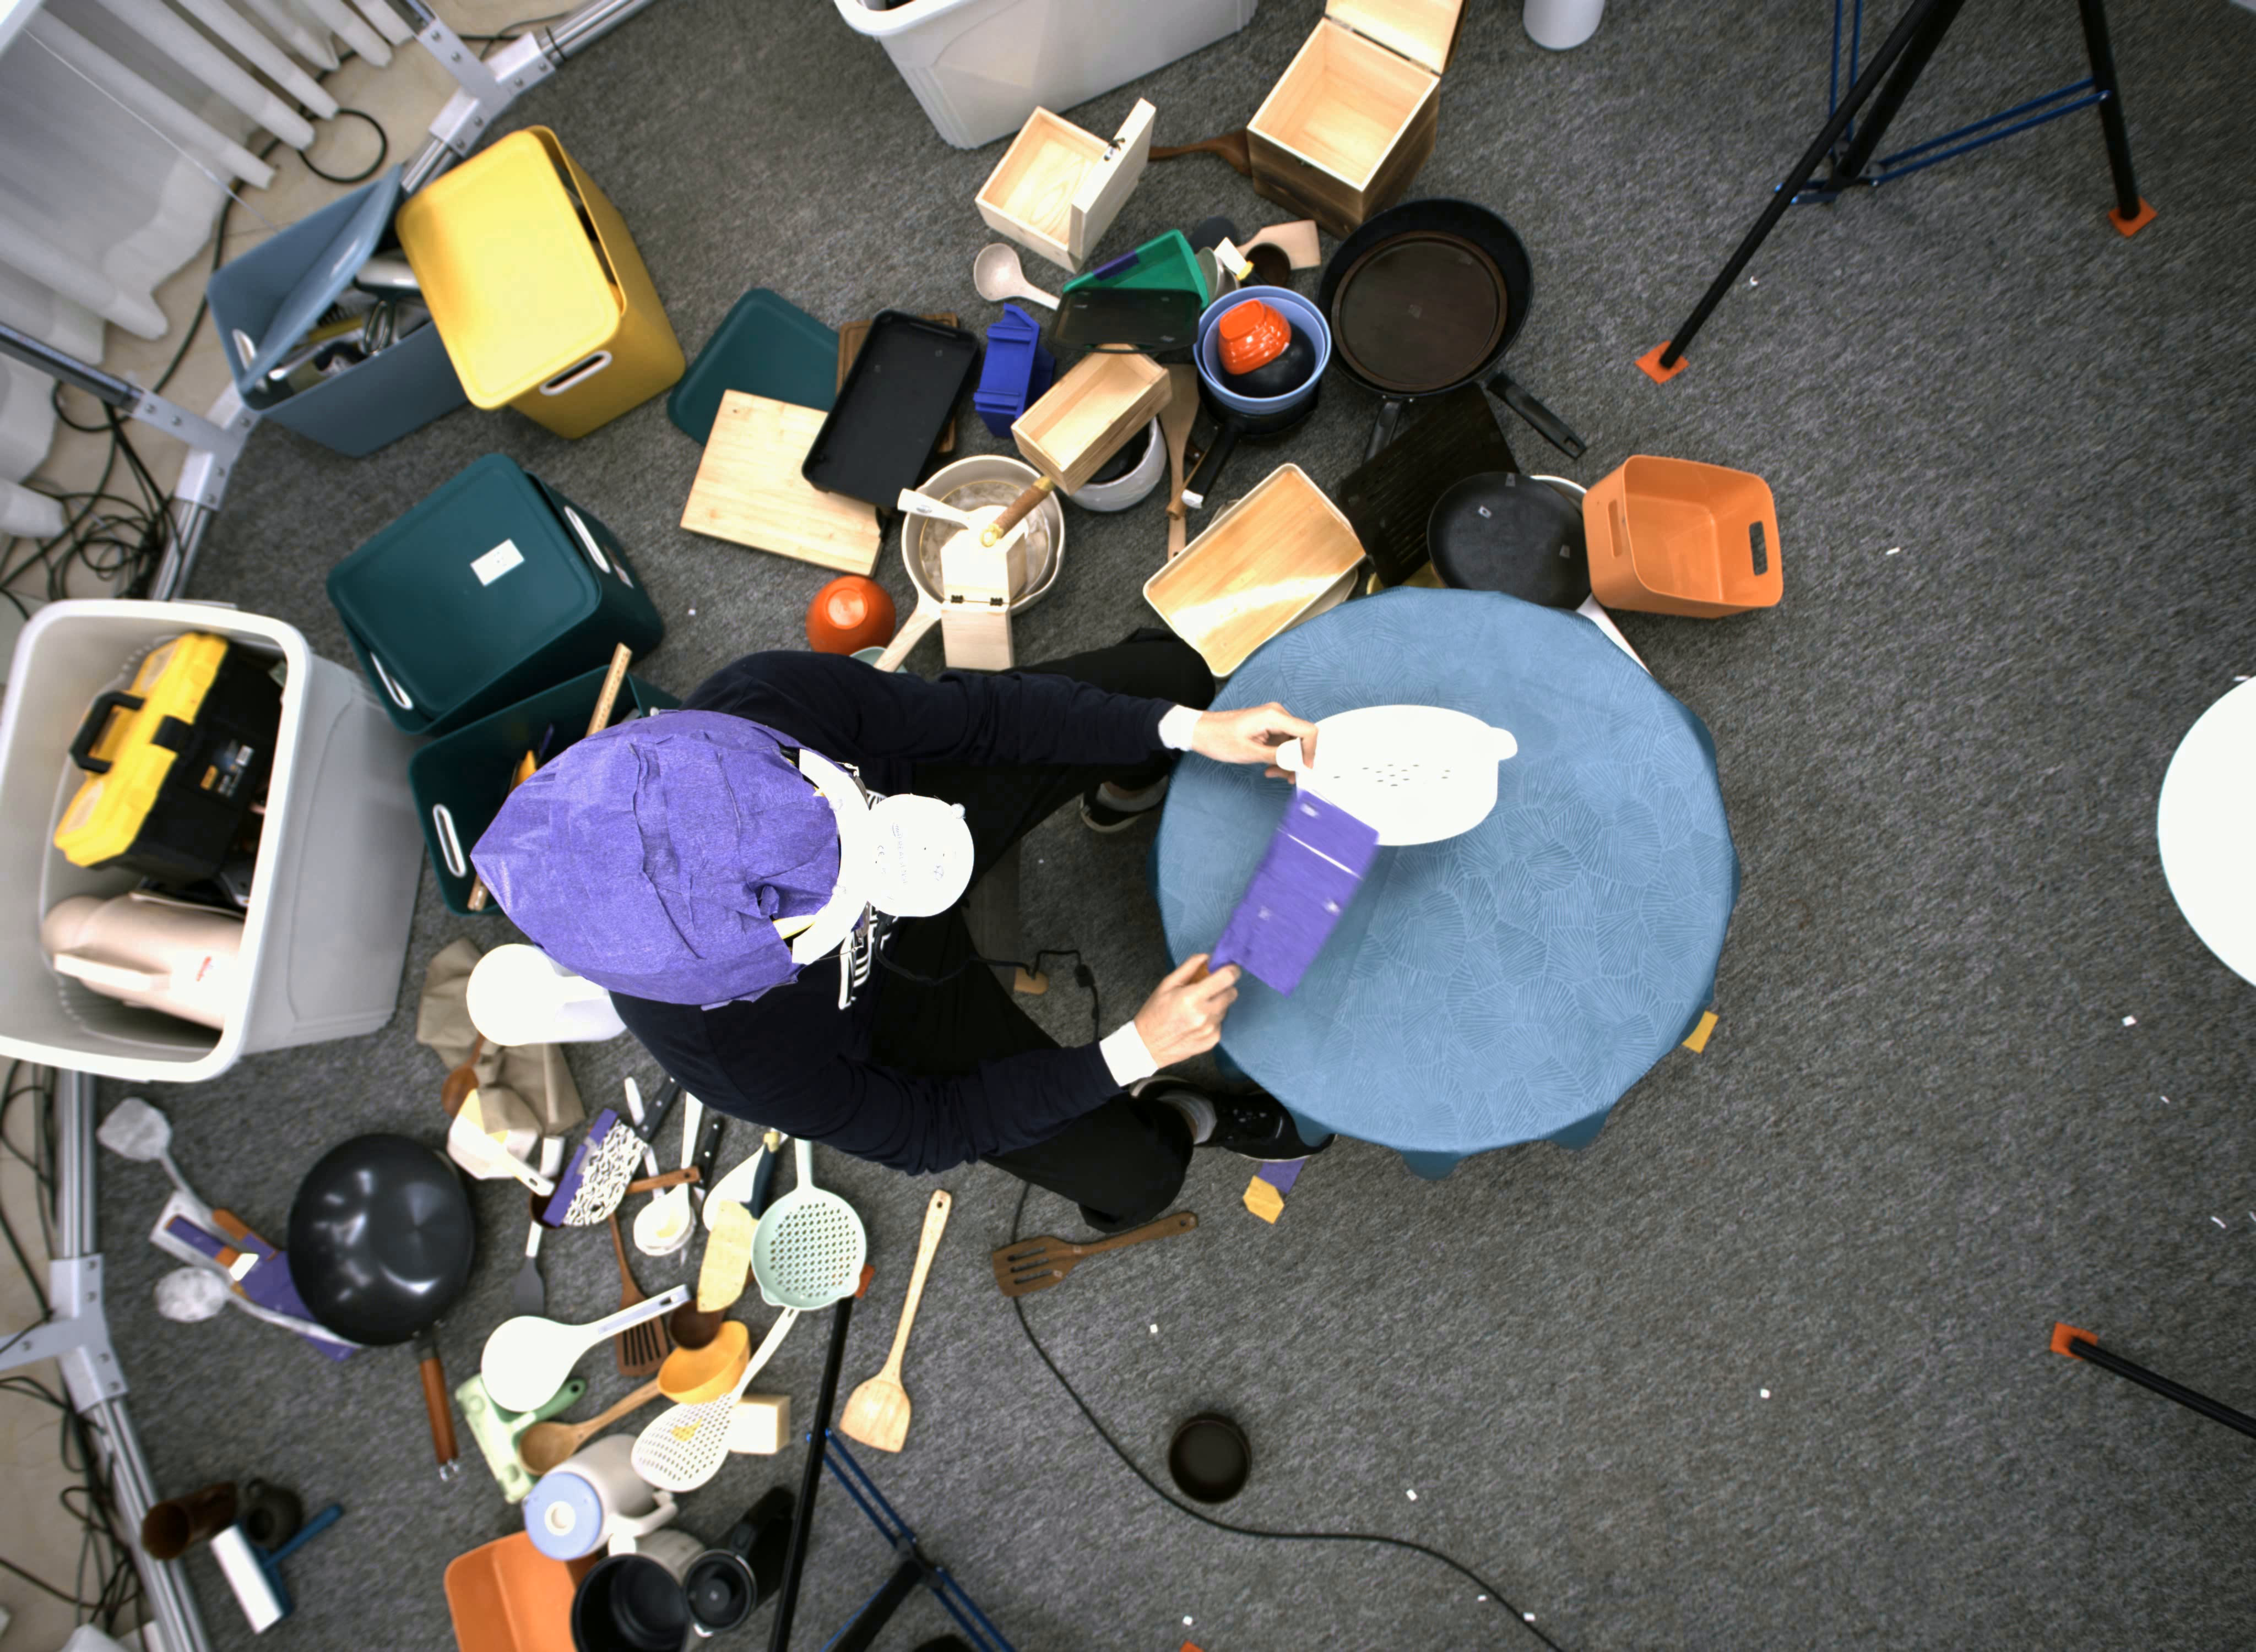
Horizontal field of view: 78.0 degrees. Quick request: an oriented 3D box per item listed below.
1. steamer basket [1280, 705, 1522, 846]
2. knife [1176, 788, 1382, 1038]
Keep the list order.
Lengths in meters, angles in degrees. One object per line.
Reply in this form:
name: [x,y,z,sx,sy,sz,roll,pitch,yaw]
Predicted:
steamer basket: [0.266,-0.052,1.342,0.231,0.197,0.070,-5,117,9]
knife: [0.144,0.110,1.357,0.103,0.031,0.323,35,126,12]
